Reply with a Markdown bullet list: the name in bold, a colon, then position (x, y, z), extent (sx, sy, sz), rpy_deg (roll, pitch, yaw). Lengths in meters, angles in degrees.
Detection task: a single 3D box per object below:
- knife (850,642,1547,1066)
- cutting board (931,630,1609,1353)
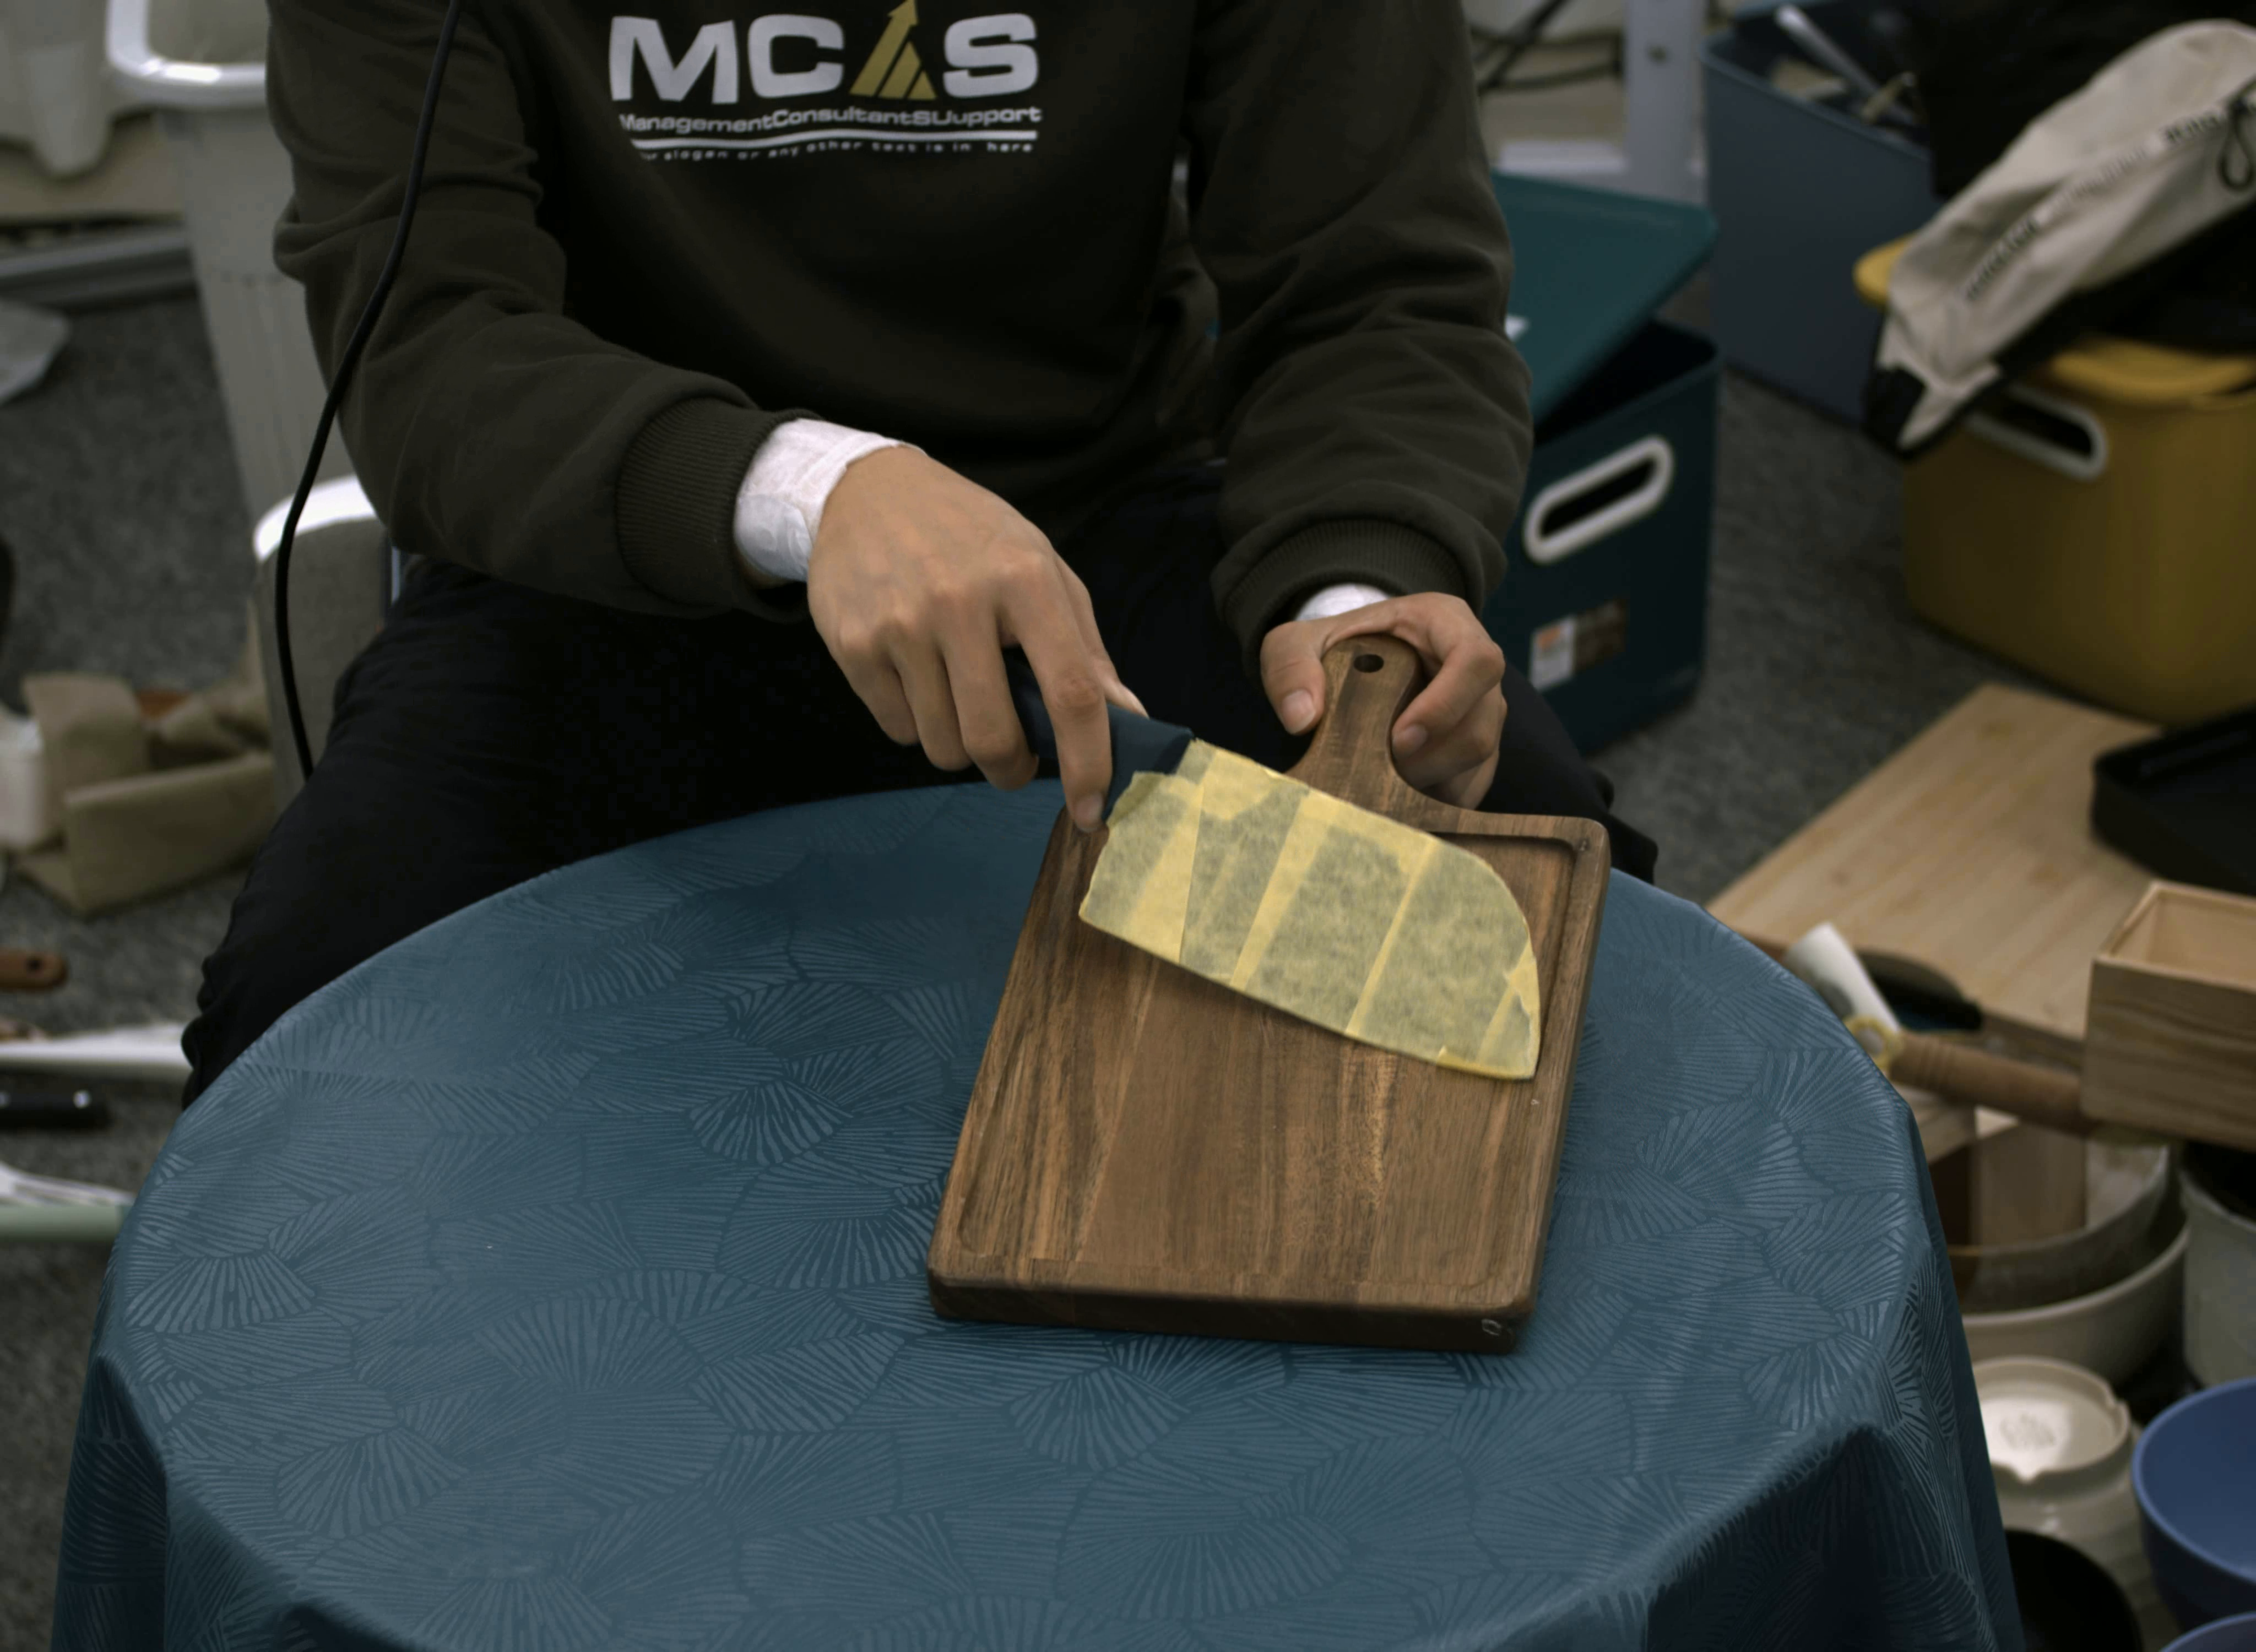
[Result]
- **knife**: position (0.019, 0.007, 1.901), extent (0.289, 0.081, 0.027), rpy_deg (26, -5, 25)
- **cutting board**: position (0.060, 0.047, 1.908), extent (0.200, 0.023, 0.359), rpy_deg (3, 38, 10)
